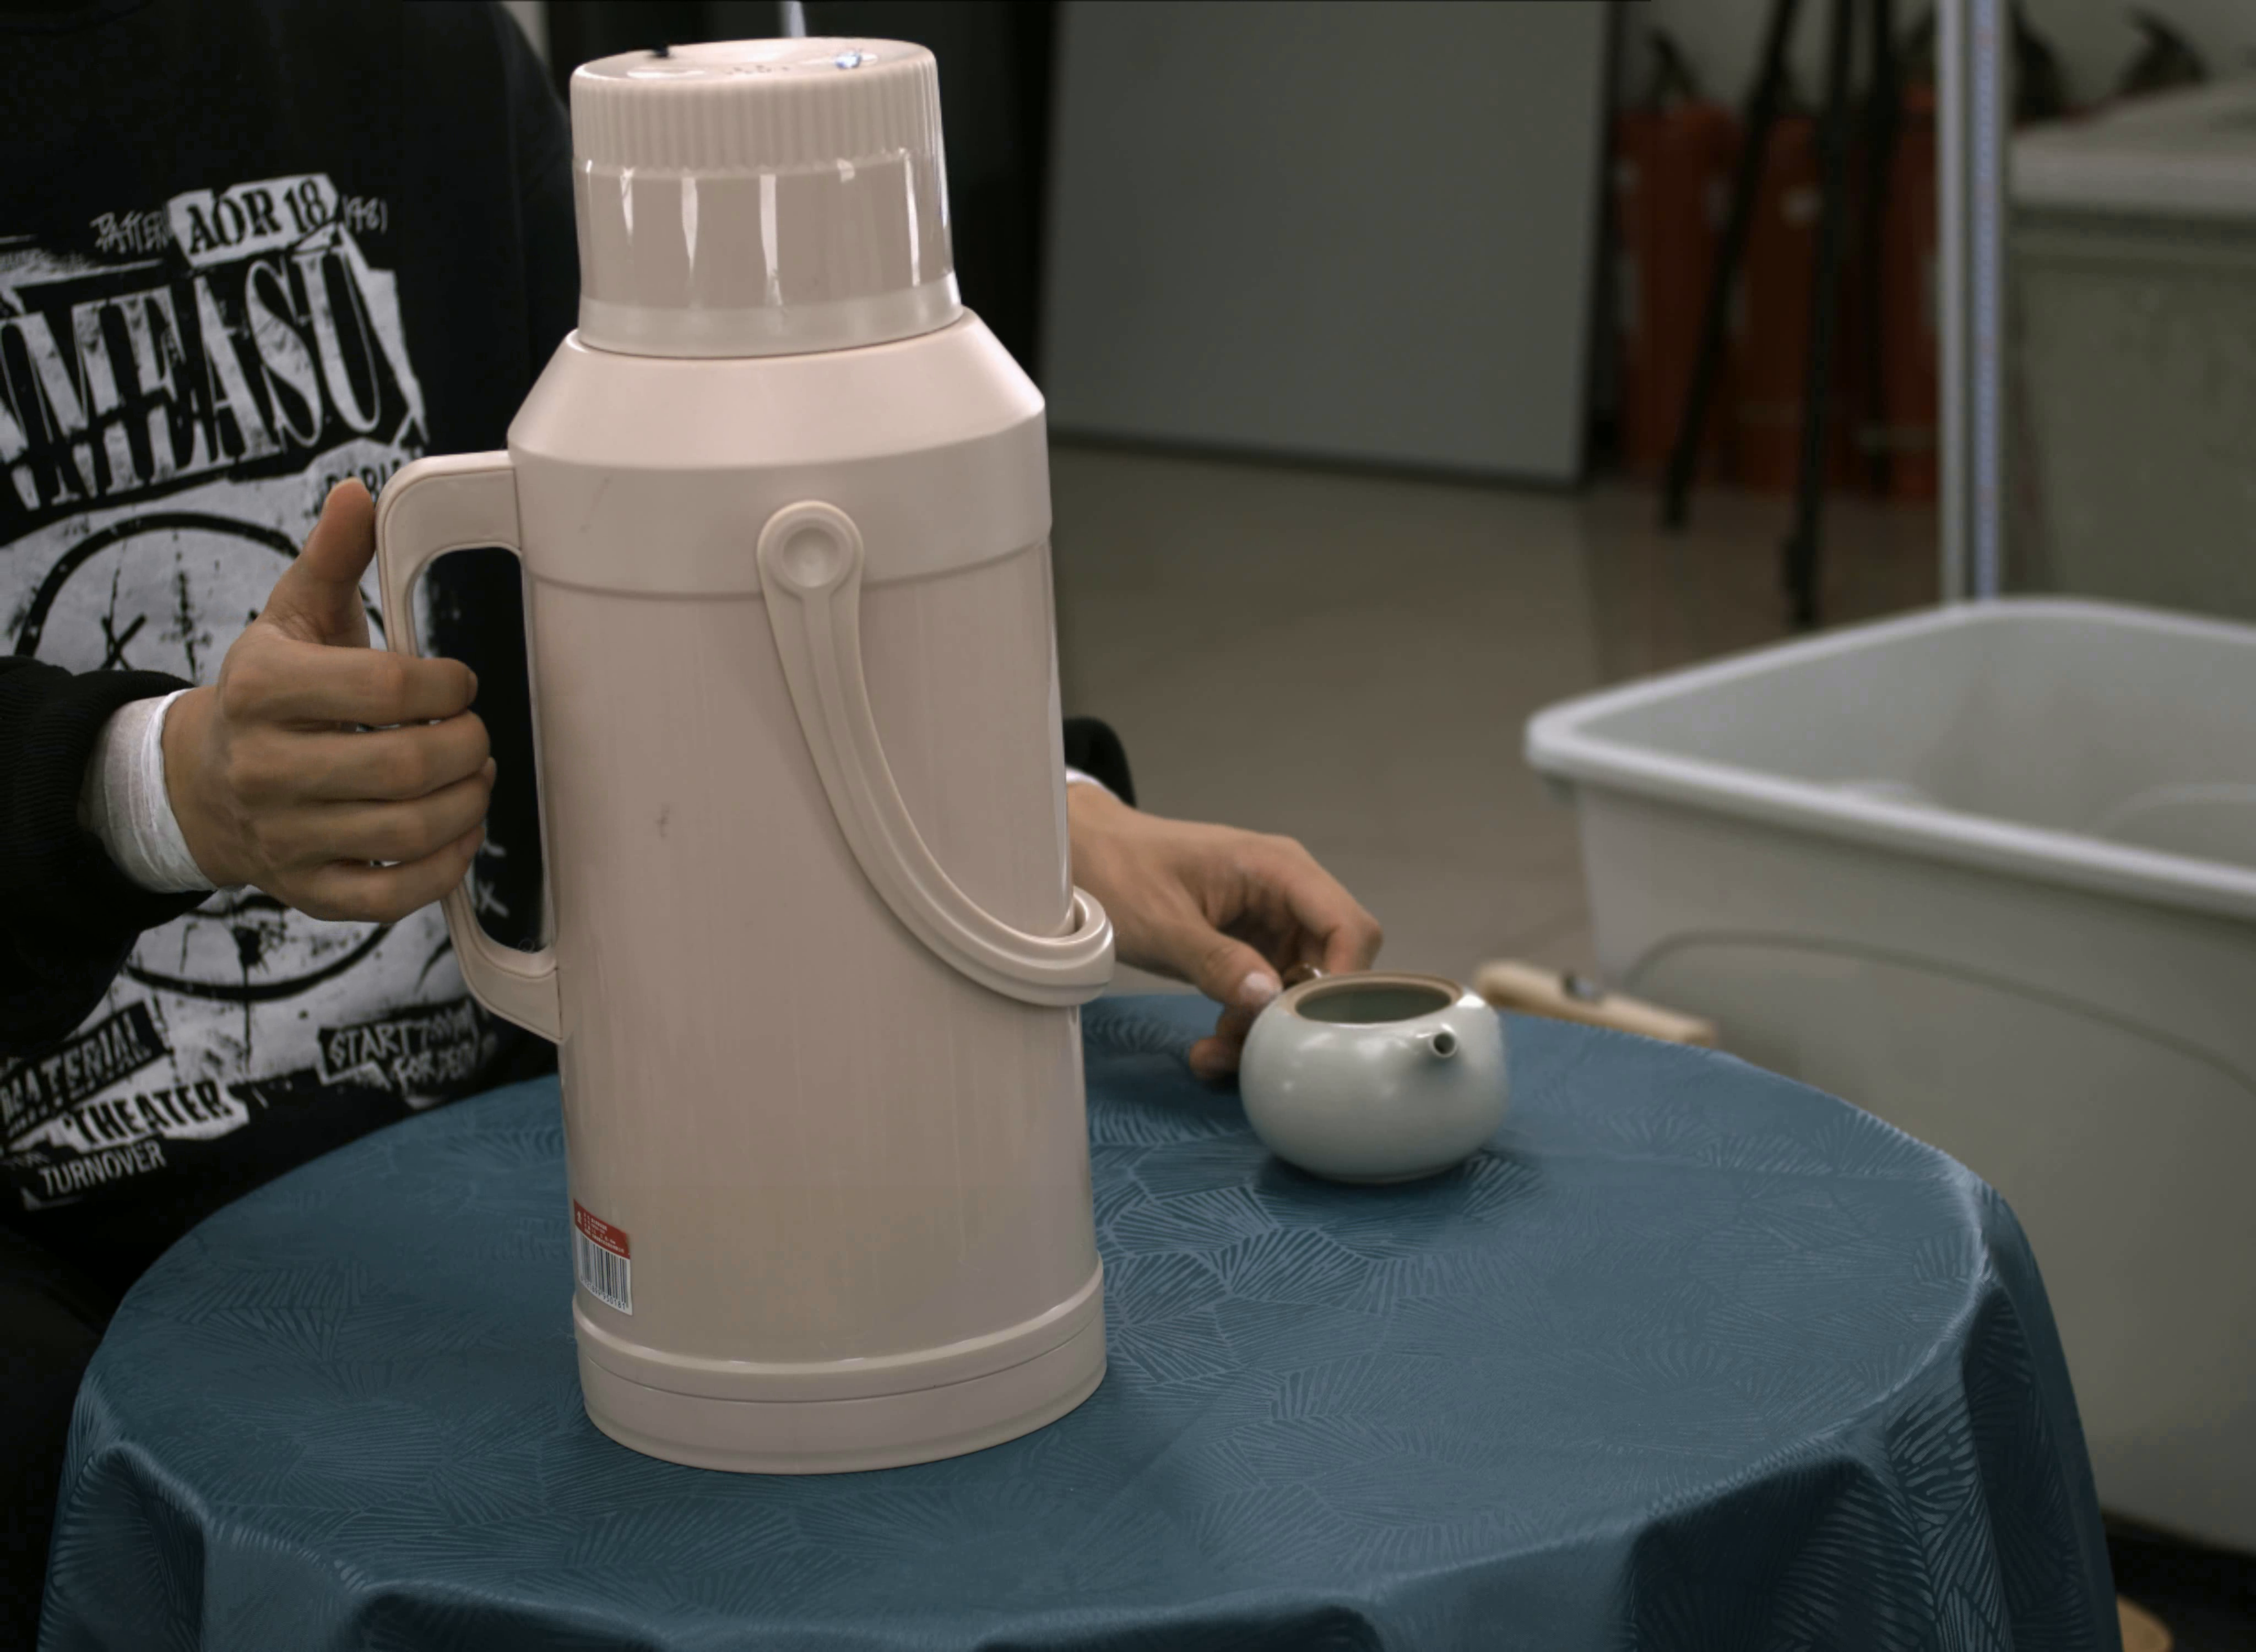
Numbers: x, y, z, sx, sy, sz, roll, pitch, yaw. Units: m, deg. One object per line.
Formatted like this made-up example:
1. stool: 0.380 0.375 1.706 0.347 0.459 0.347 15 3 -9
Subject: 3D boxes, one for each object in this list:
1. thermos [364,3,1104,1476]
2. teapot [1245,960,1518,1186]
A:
1. thermos: -0.112 -0.026 1.571 0.203 0.411 0.176 -5 15 -8
2. teapot: 0.080 0.081 1.789 0.090 0.060 0.129 -14 17 -22
